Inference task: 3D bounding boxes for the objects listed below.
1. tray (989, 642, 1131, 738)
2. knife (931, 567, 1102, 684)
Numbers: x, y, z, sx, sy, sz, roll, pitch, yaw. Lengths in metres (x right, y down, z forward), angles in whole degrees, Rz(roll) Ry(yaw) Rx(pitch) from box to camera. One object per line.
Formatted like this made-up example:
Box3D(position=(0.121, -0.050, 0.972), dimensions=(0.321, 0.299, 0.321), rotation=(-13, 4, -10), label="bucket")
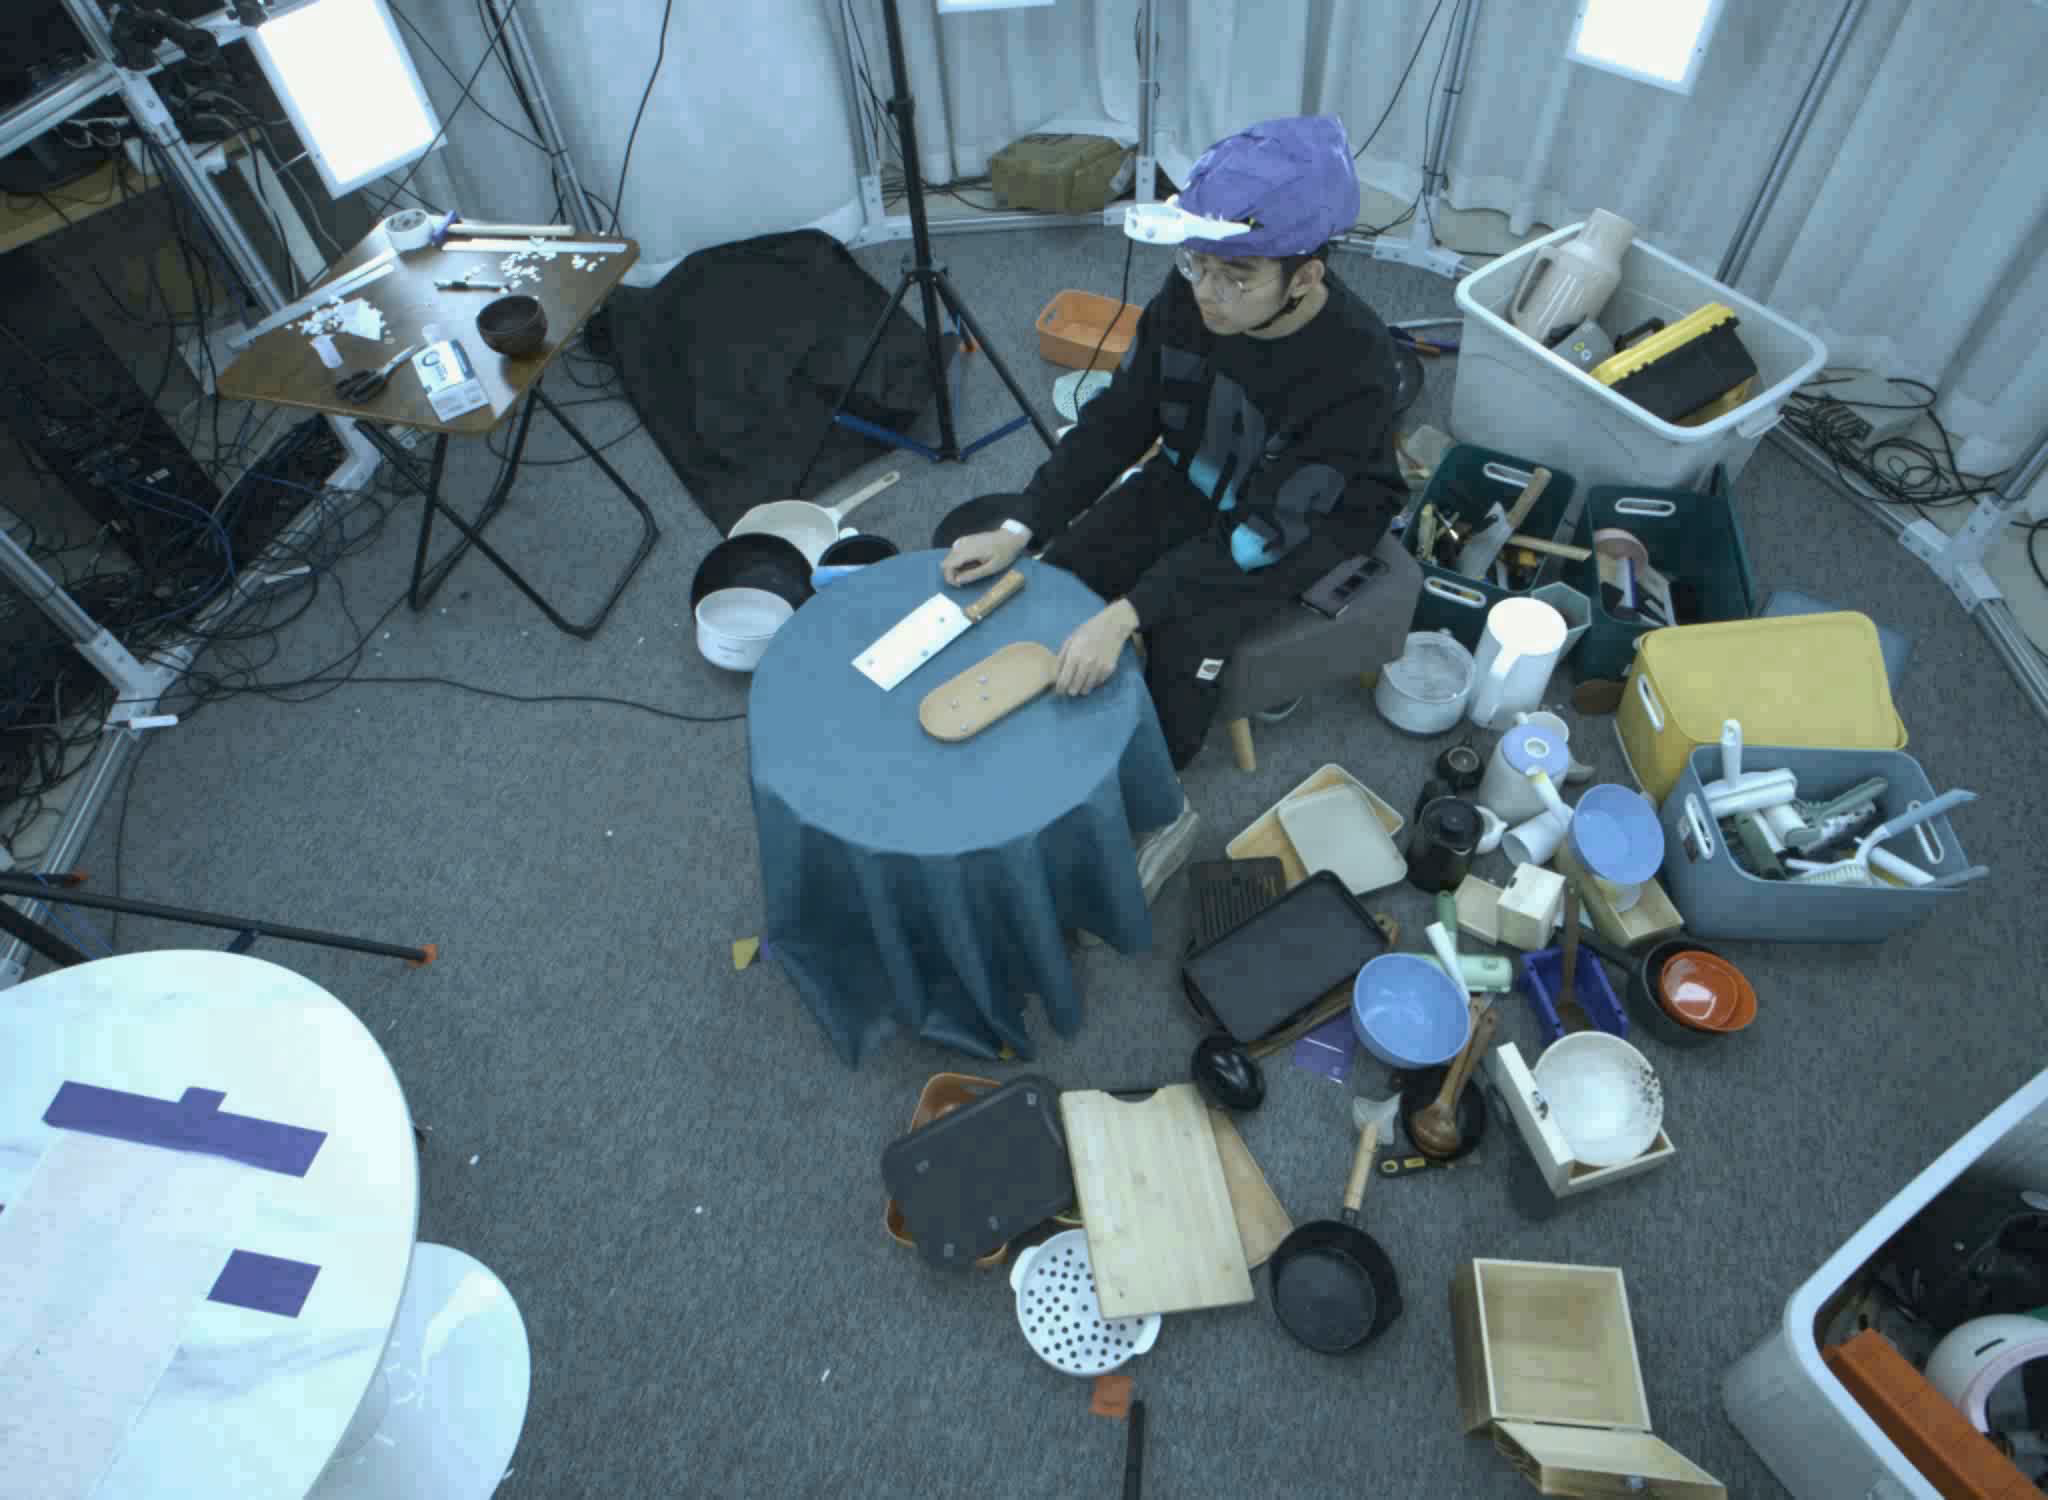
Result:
Box3D(position=(0.055, -0.090, 1.838), dimensions=(0.233, 0.020, 0.100), rotation=(-28, 59, -17), label="tray")
Box3D(position=(-0.014, -0.210, 1.926), dimensions=(0.308, 0.021, 0.091), rotation=(-37, 60, -19), label="knife")
